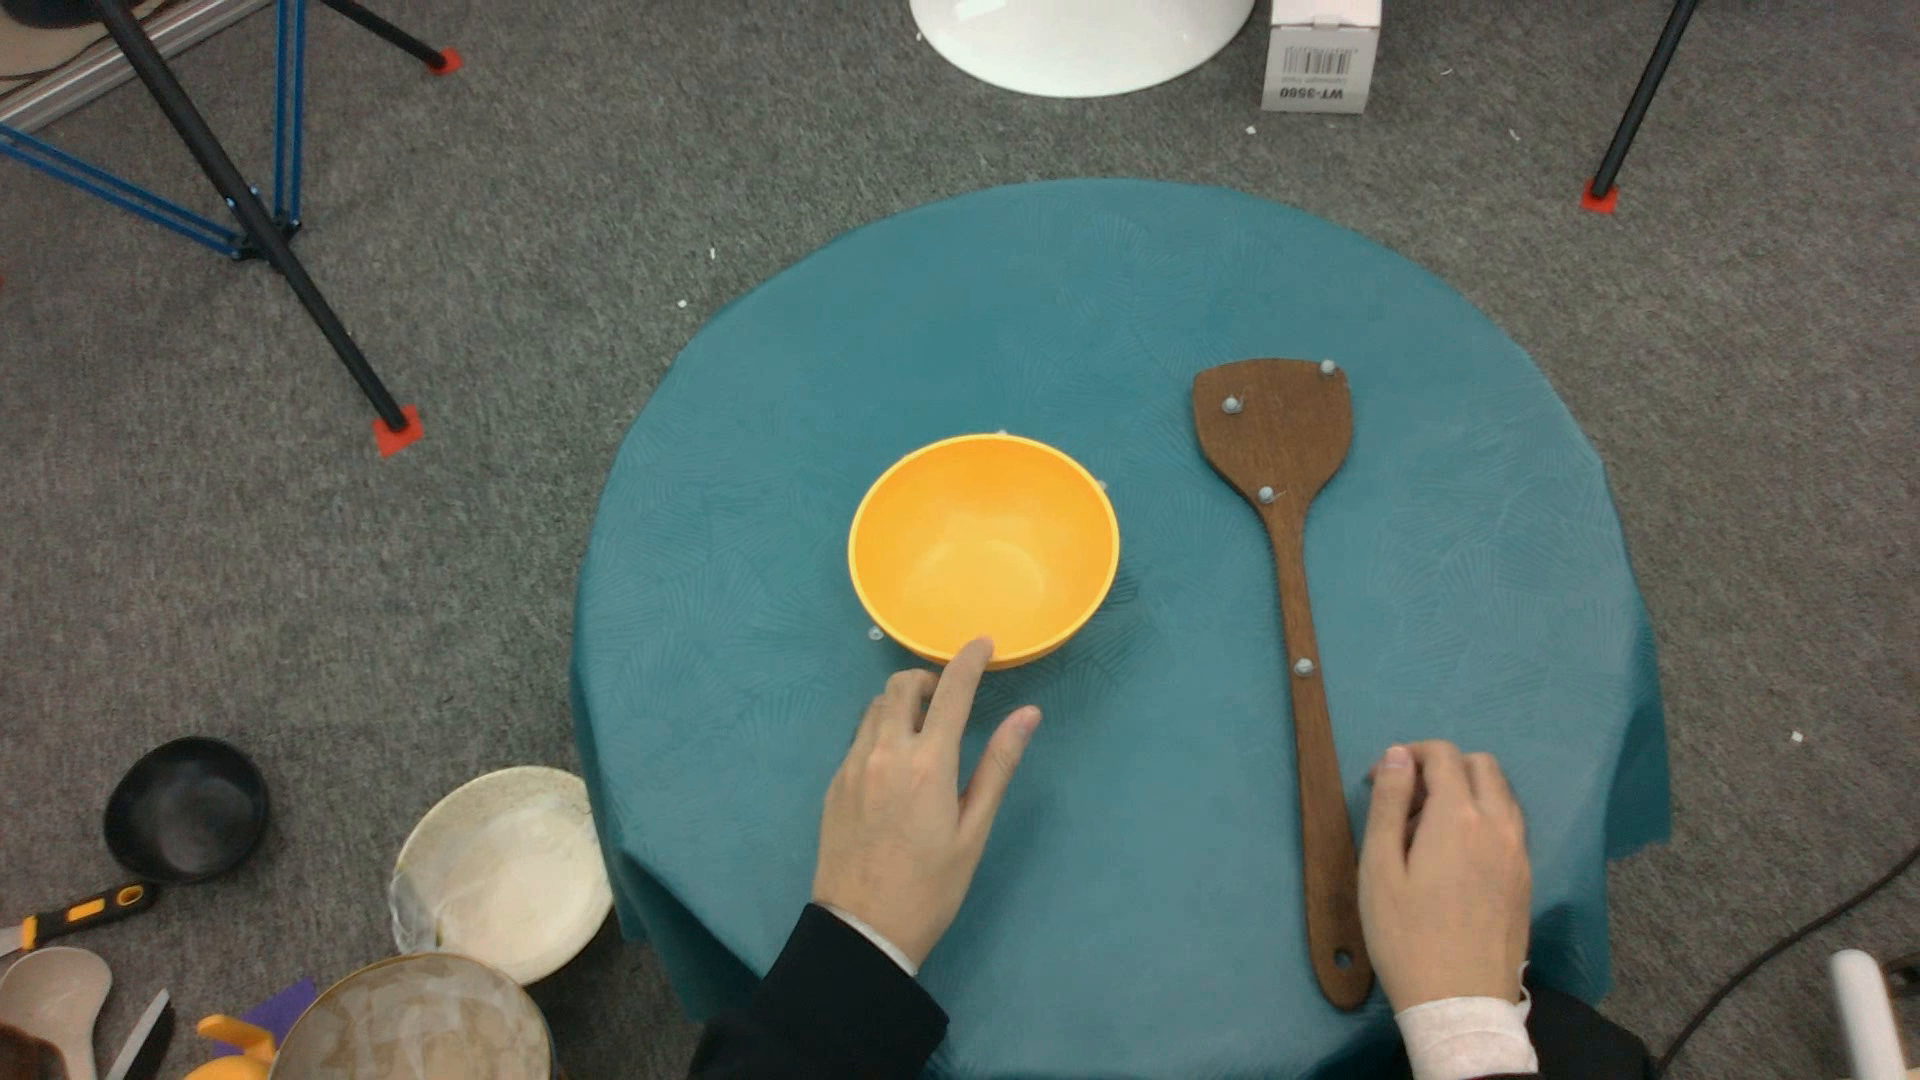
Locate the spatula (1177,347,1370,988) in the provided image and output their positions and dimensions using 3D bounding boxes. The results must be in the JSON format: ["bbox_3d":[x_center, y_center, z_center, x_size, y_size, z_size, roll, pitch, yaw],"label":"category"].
[{"bbox_3d":[0.180,0.045,0.750,0.096,0.016,0.387,-2,57,3],"label":"spatula"}]

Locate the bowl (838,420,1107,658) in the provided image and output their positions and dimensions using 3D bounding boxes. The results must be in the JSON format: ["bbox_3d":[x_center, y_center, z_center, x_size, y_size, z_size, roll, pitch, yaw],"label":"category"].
[{"bbox_3d":[0.008,0.009,0.758,0.145,0.060,0.146,-2,59,3],"label":"bowl"}]
